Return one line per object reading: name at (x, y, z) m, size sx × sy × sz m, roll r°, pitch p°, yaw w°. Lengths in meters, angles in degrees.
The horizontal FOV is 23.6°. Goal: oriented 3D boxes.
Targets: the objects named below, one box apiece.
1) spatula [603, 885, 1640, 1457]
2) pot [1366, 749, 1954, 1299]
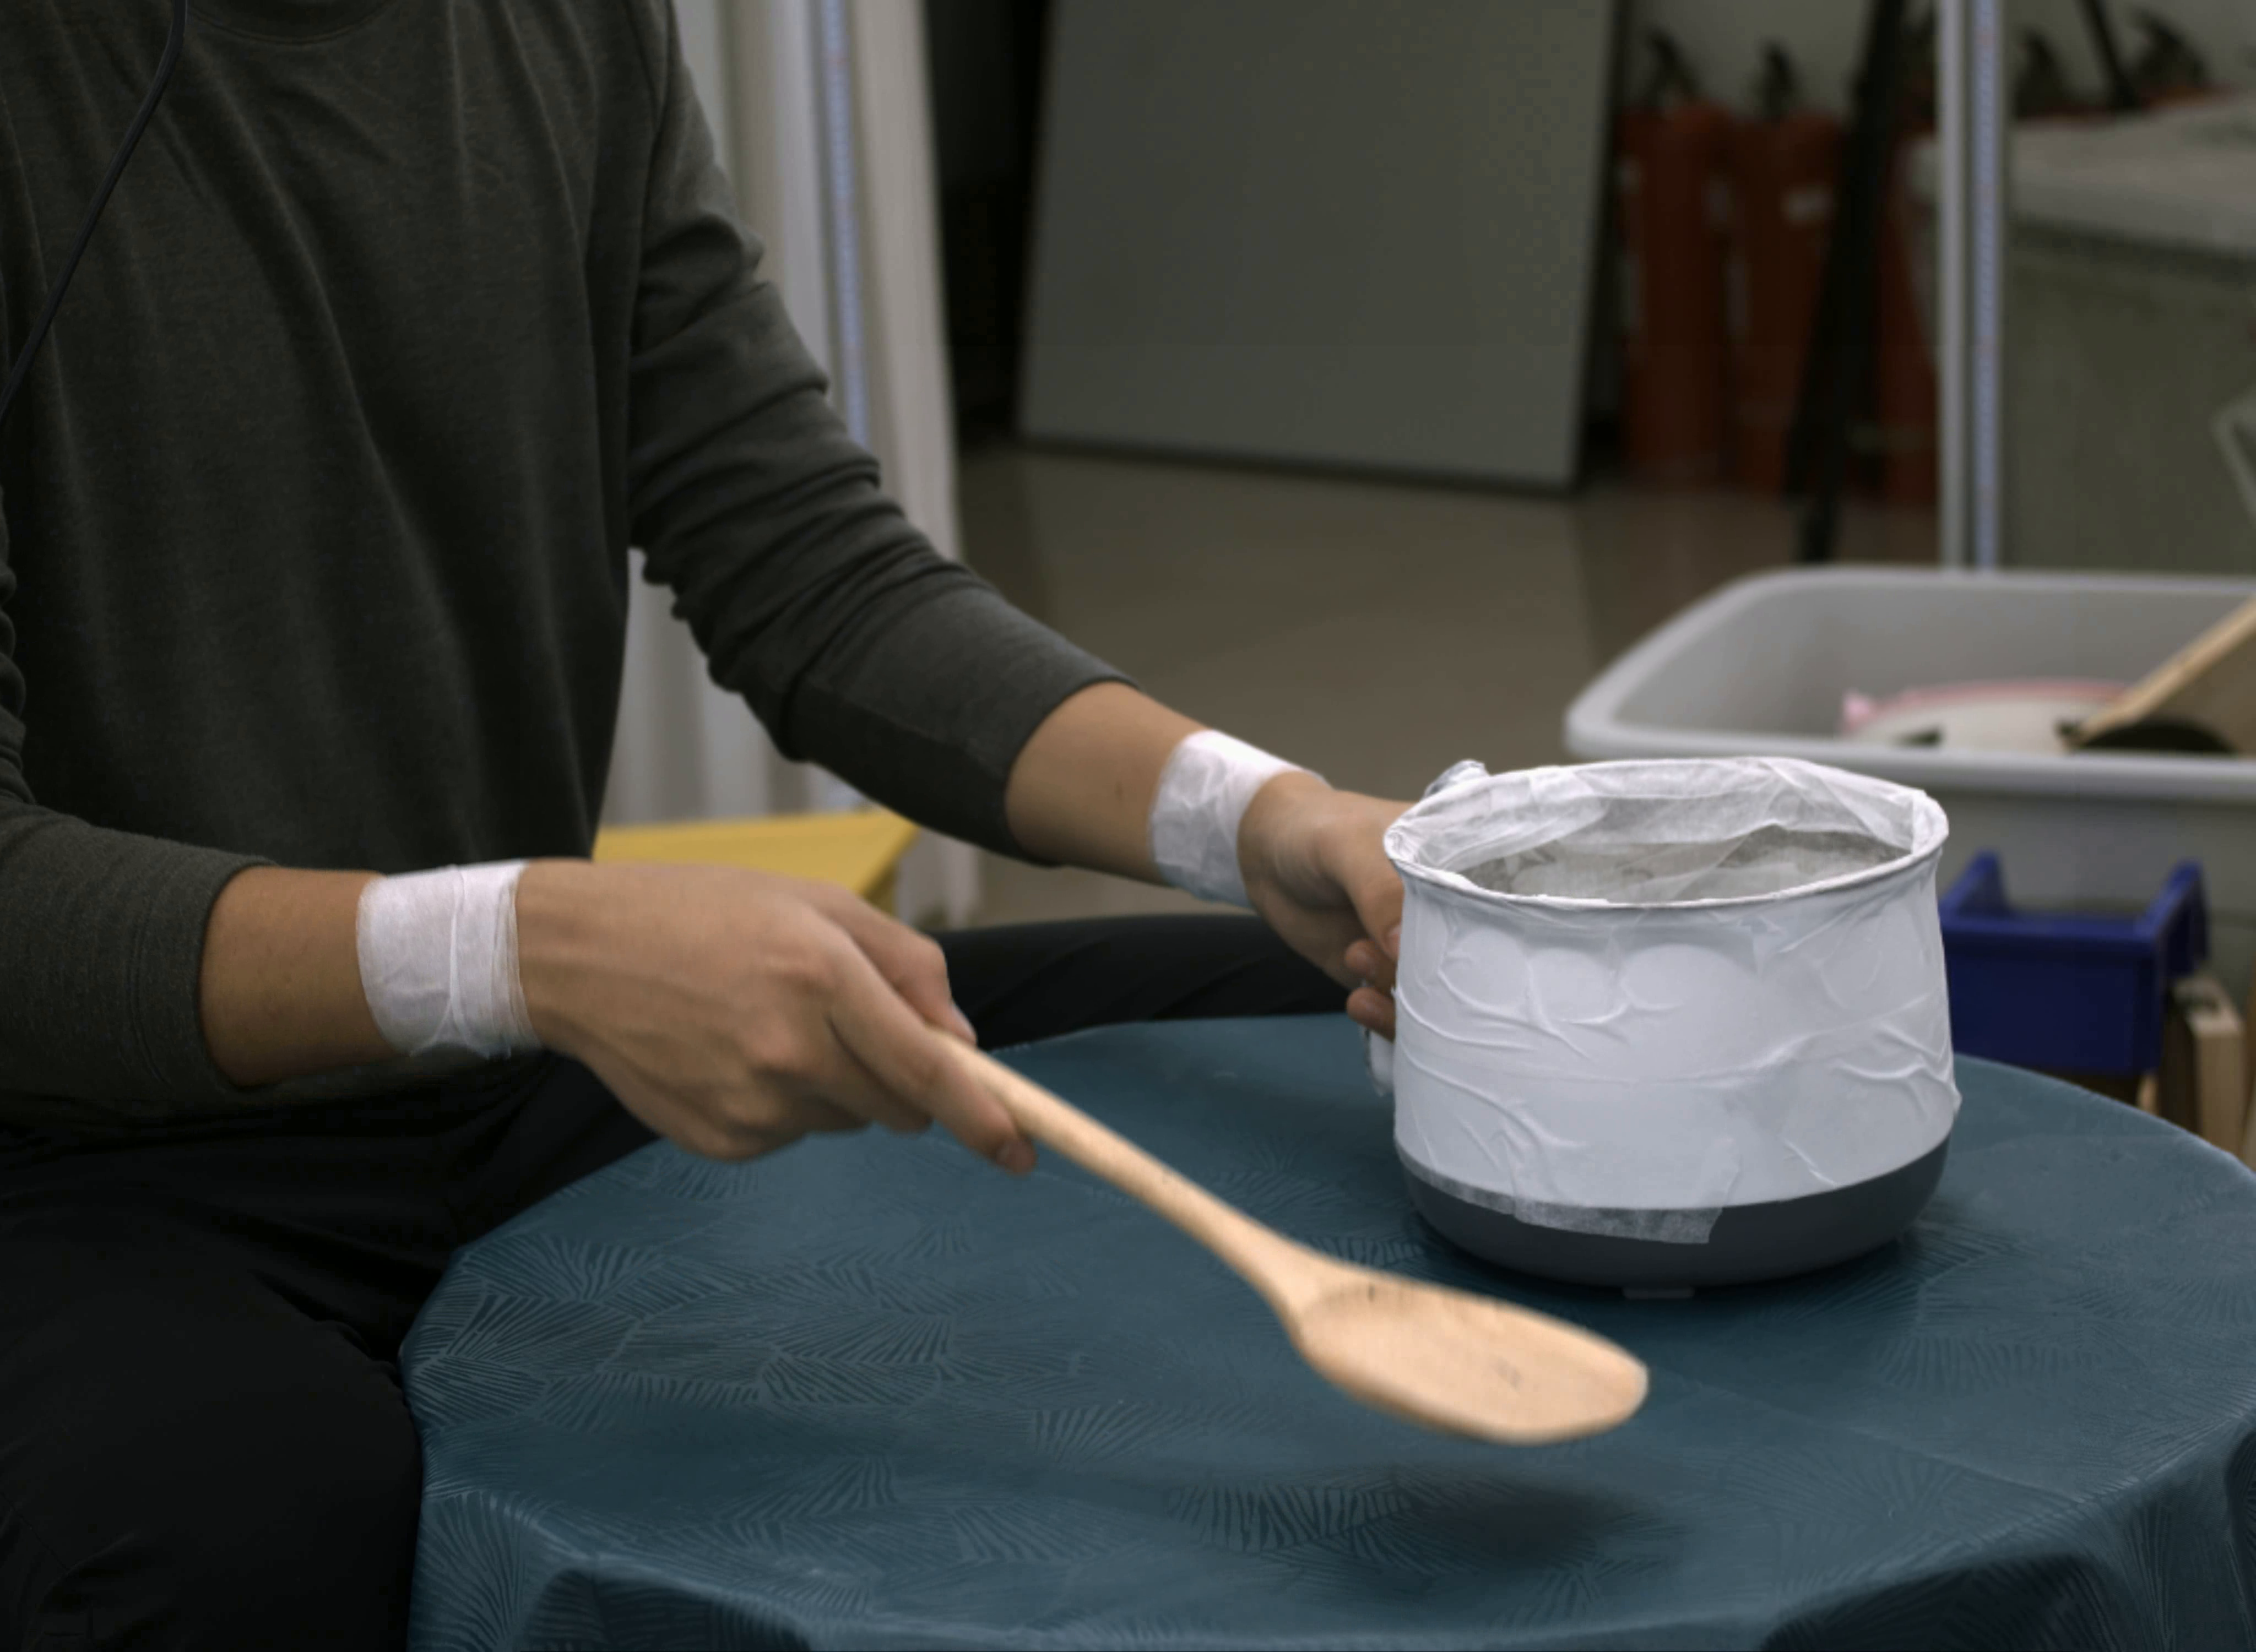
spatula at (-0.019, 0.094, 1.545) m, size 0.394 × 0.018 × 0.094 m, roll 29°, pitch 21°, yaw 36°
pot at (0.154, 0.055, 1.705) m, size 0.175 × 0.138 × 0.236 m, roll -12°, pitch 16°, yaw -34°
